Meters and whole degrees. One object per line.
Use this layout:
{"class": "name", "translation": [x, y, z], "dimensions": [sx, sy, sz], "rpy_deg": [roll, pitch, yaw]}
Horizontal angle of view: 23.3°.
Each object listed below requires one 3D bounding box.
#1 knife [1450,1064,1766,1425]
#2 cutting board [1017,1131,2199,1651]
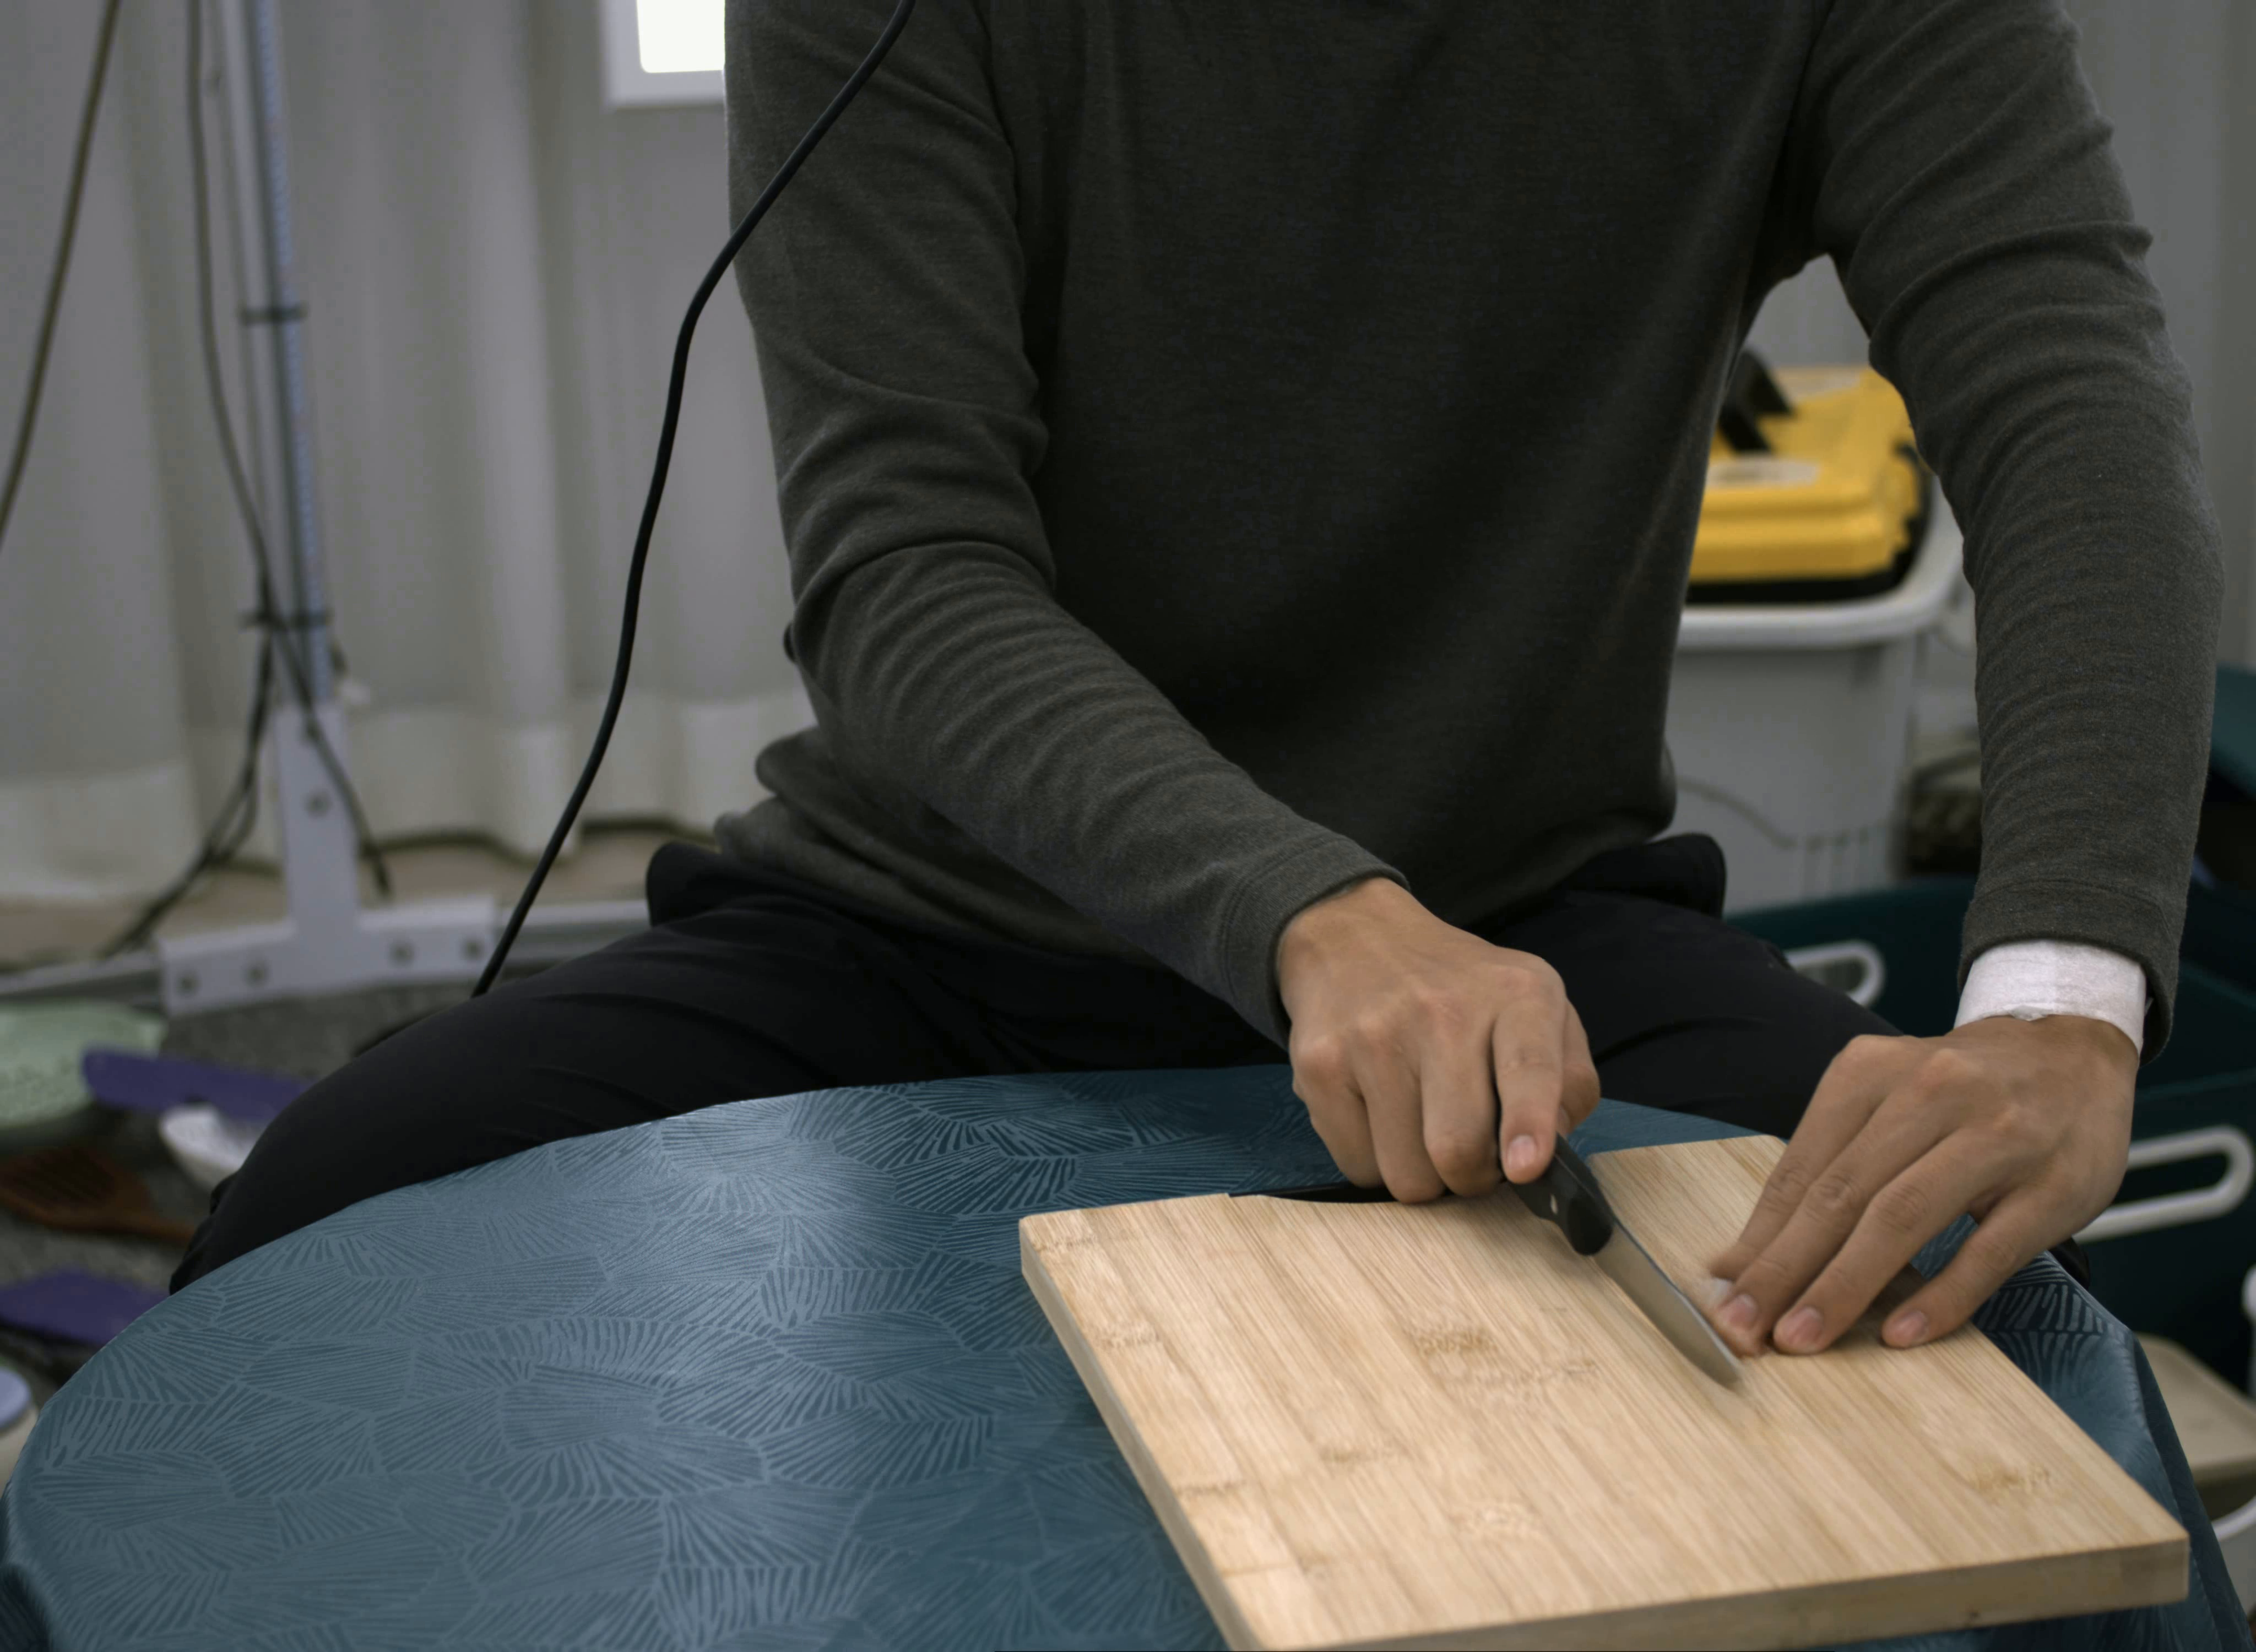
{"class": "knife", "translation": [0.135, 0.116, 1.553], "dimensions": [0.016, 0.024, 0.240], "rpy_deg": [-12, 22, -12]}
{"class": "cutting board", "translation": [0.117, 0.156, 1.511], "dimensions": [0.249, 0.023, 0.351], "rpy_deg": [-5, 15, -11]}
